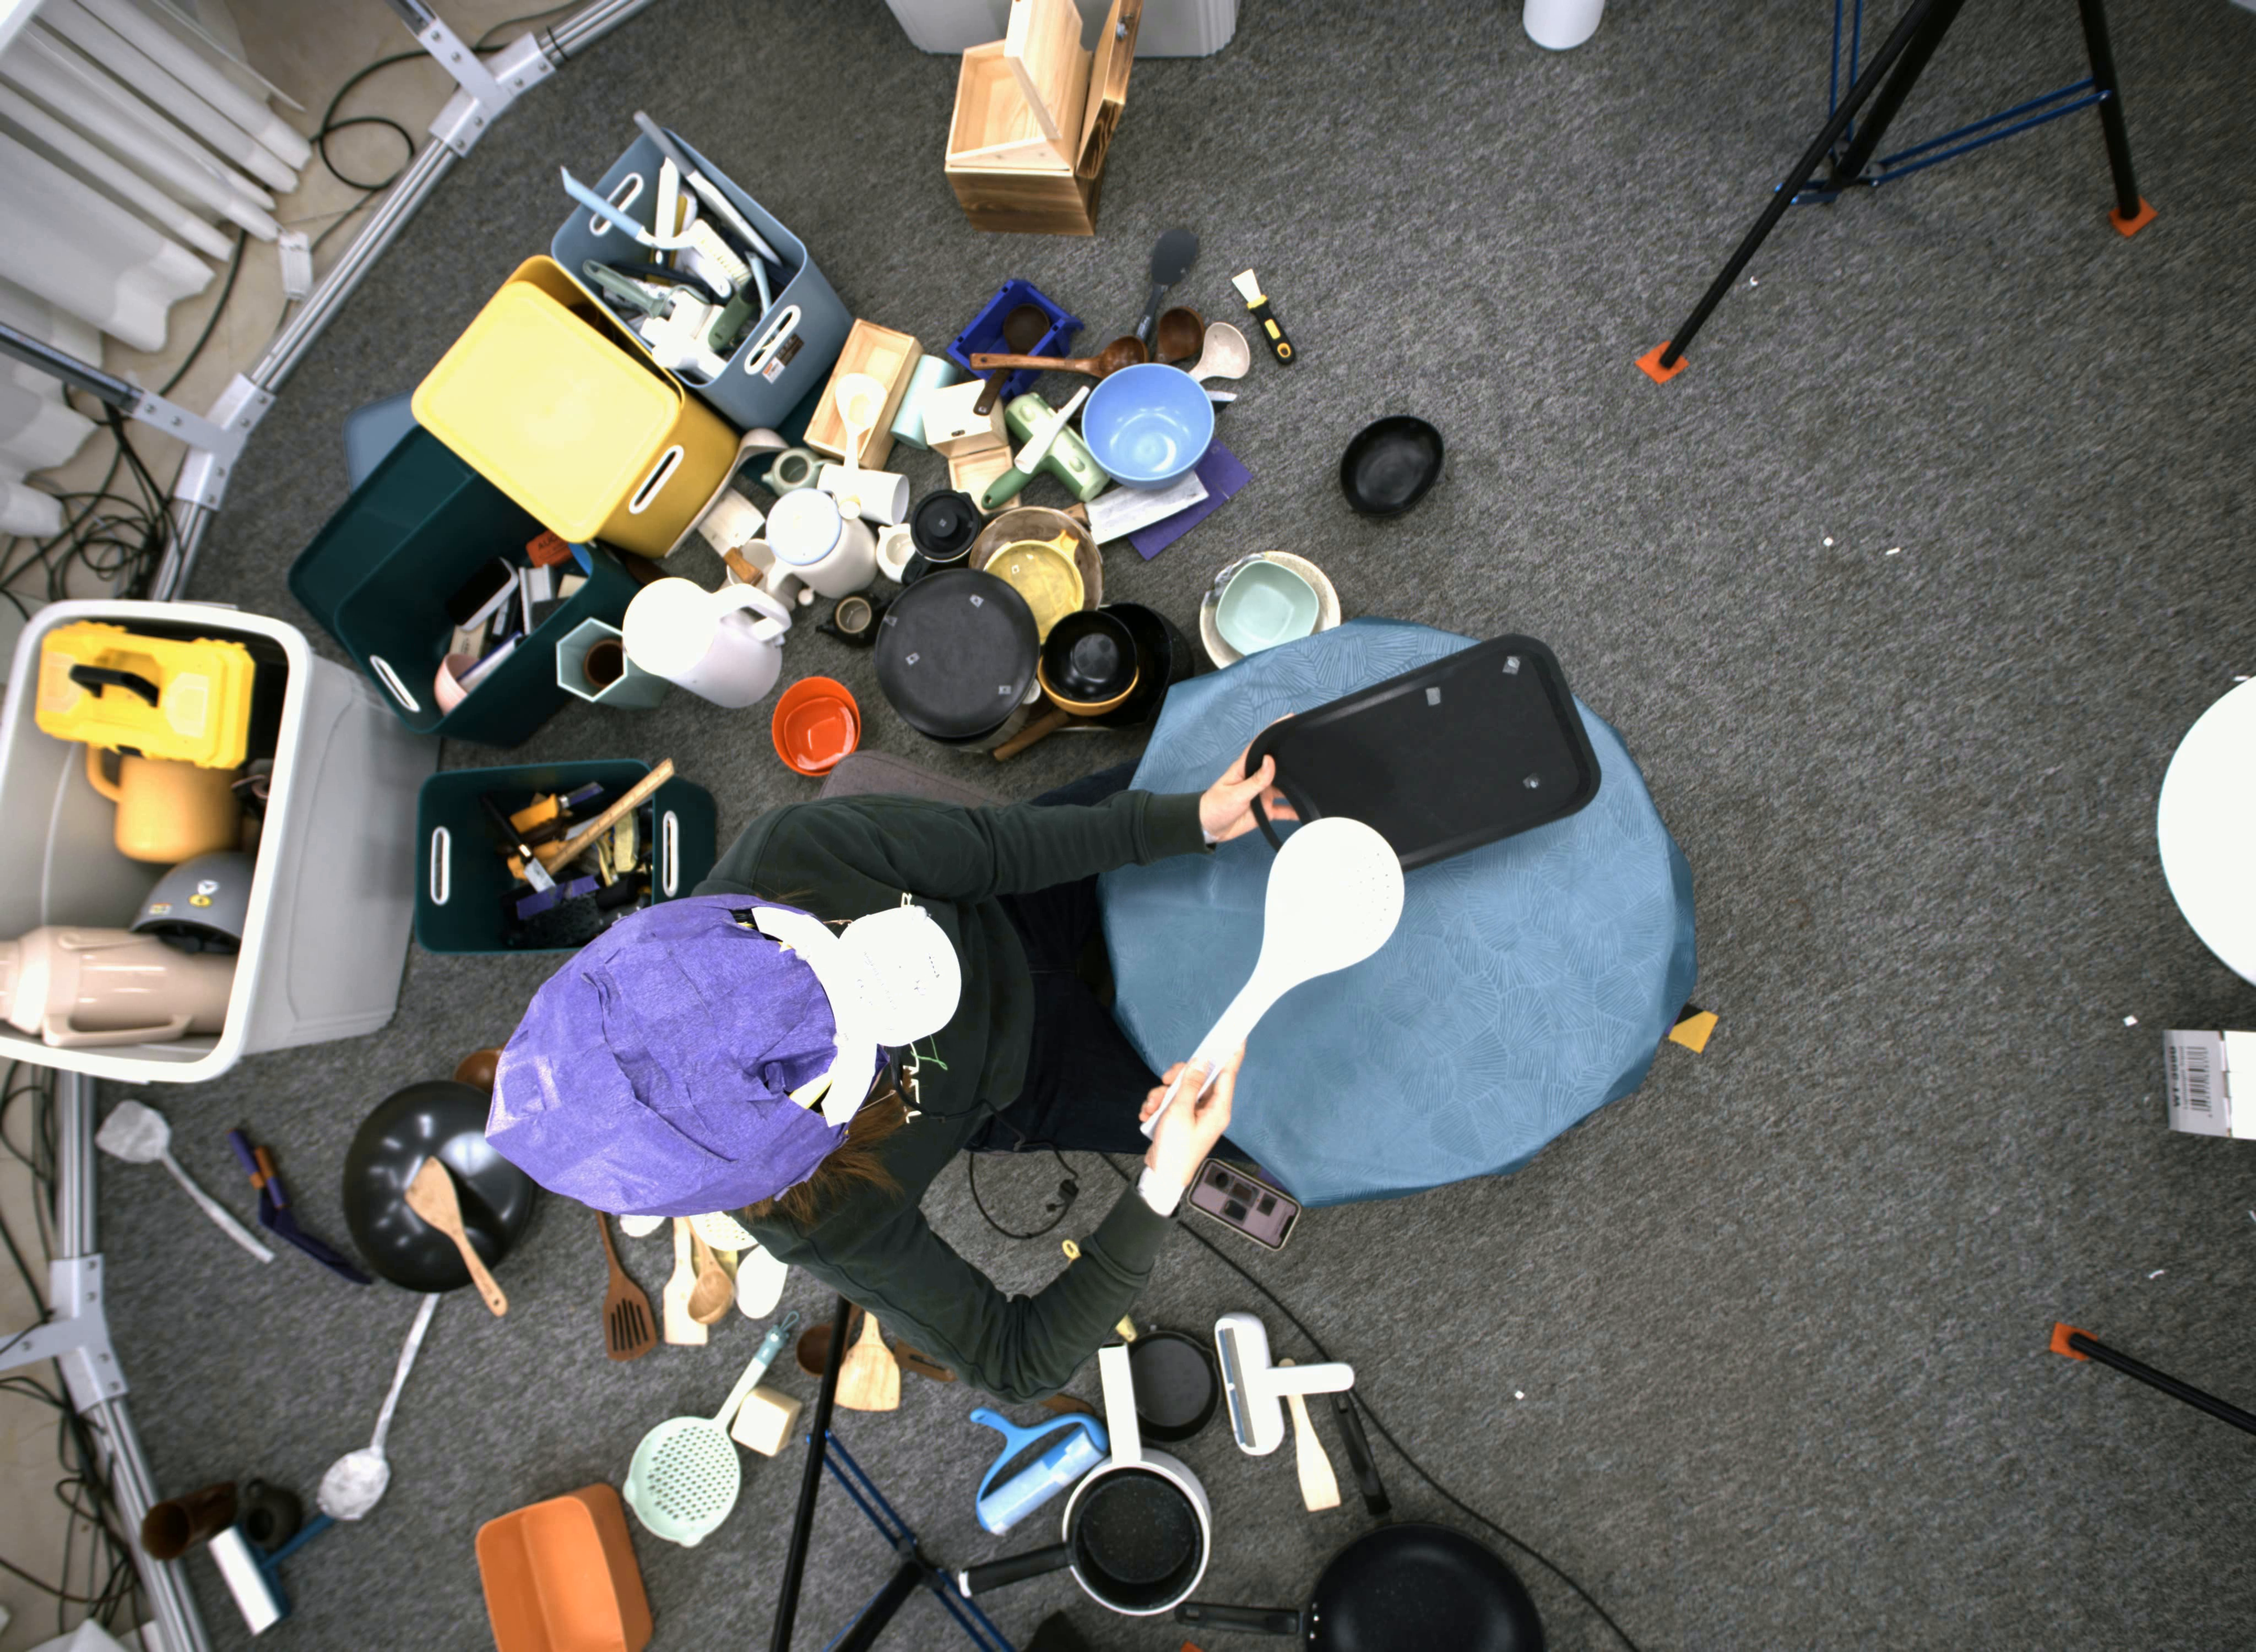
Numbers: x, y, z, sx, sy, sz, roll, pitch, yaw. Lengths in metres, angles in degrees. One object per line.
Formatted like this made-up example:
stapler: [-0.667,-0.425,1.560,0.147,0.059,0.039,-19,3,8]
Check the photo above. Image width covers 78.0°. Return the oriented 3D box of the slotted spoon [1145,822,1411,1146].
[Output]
slotted spoon: [0.132,0.147,1.274,0.137,0.046,0.346,40,78,-13]

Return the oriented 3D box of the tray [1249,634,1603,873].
tray: [0.280,-0.052,1.328,0.329,0.009,0.214,-21,120,21]
